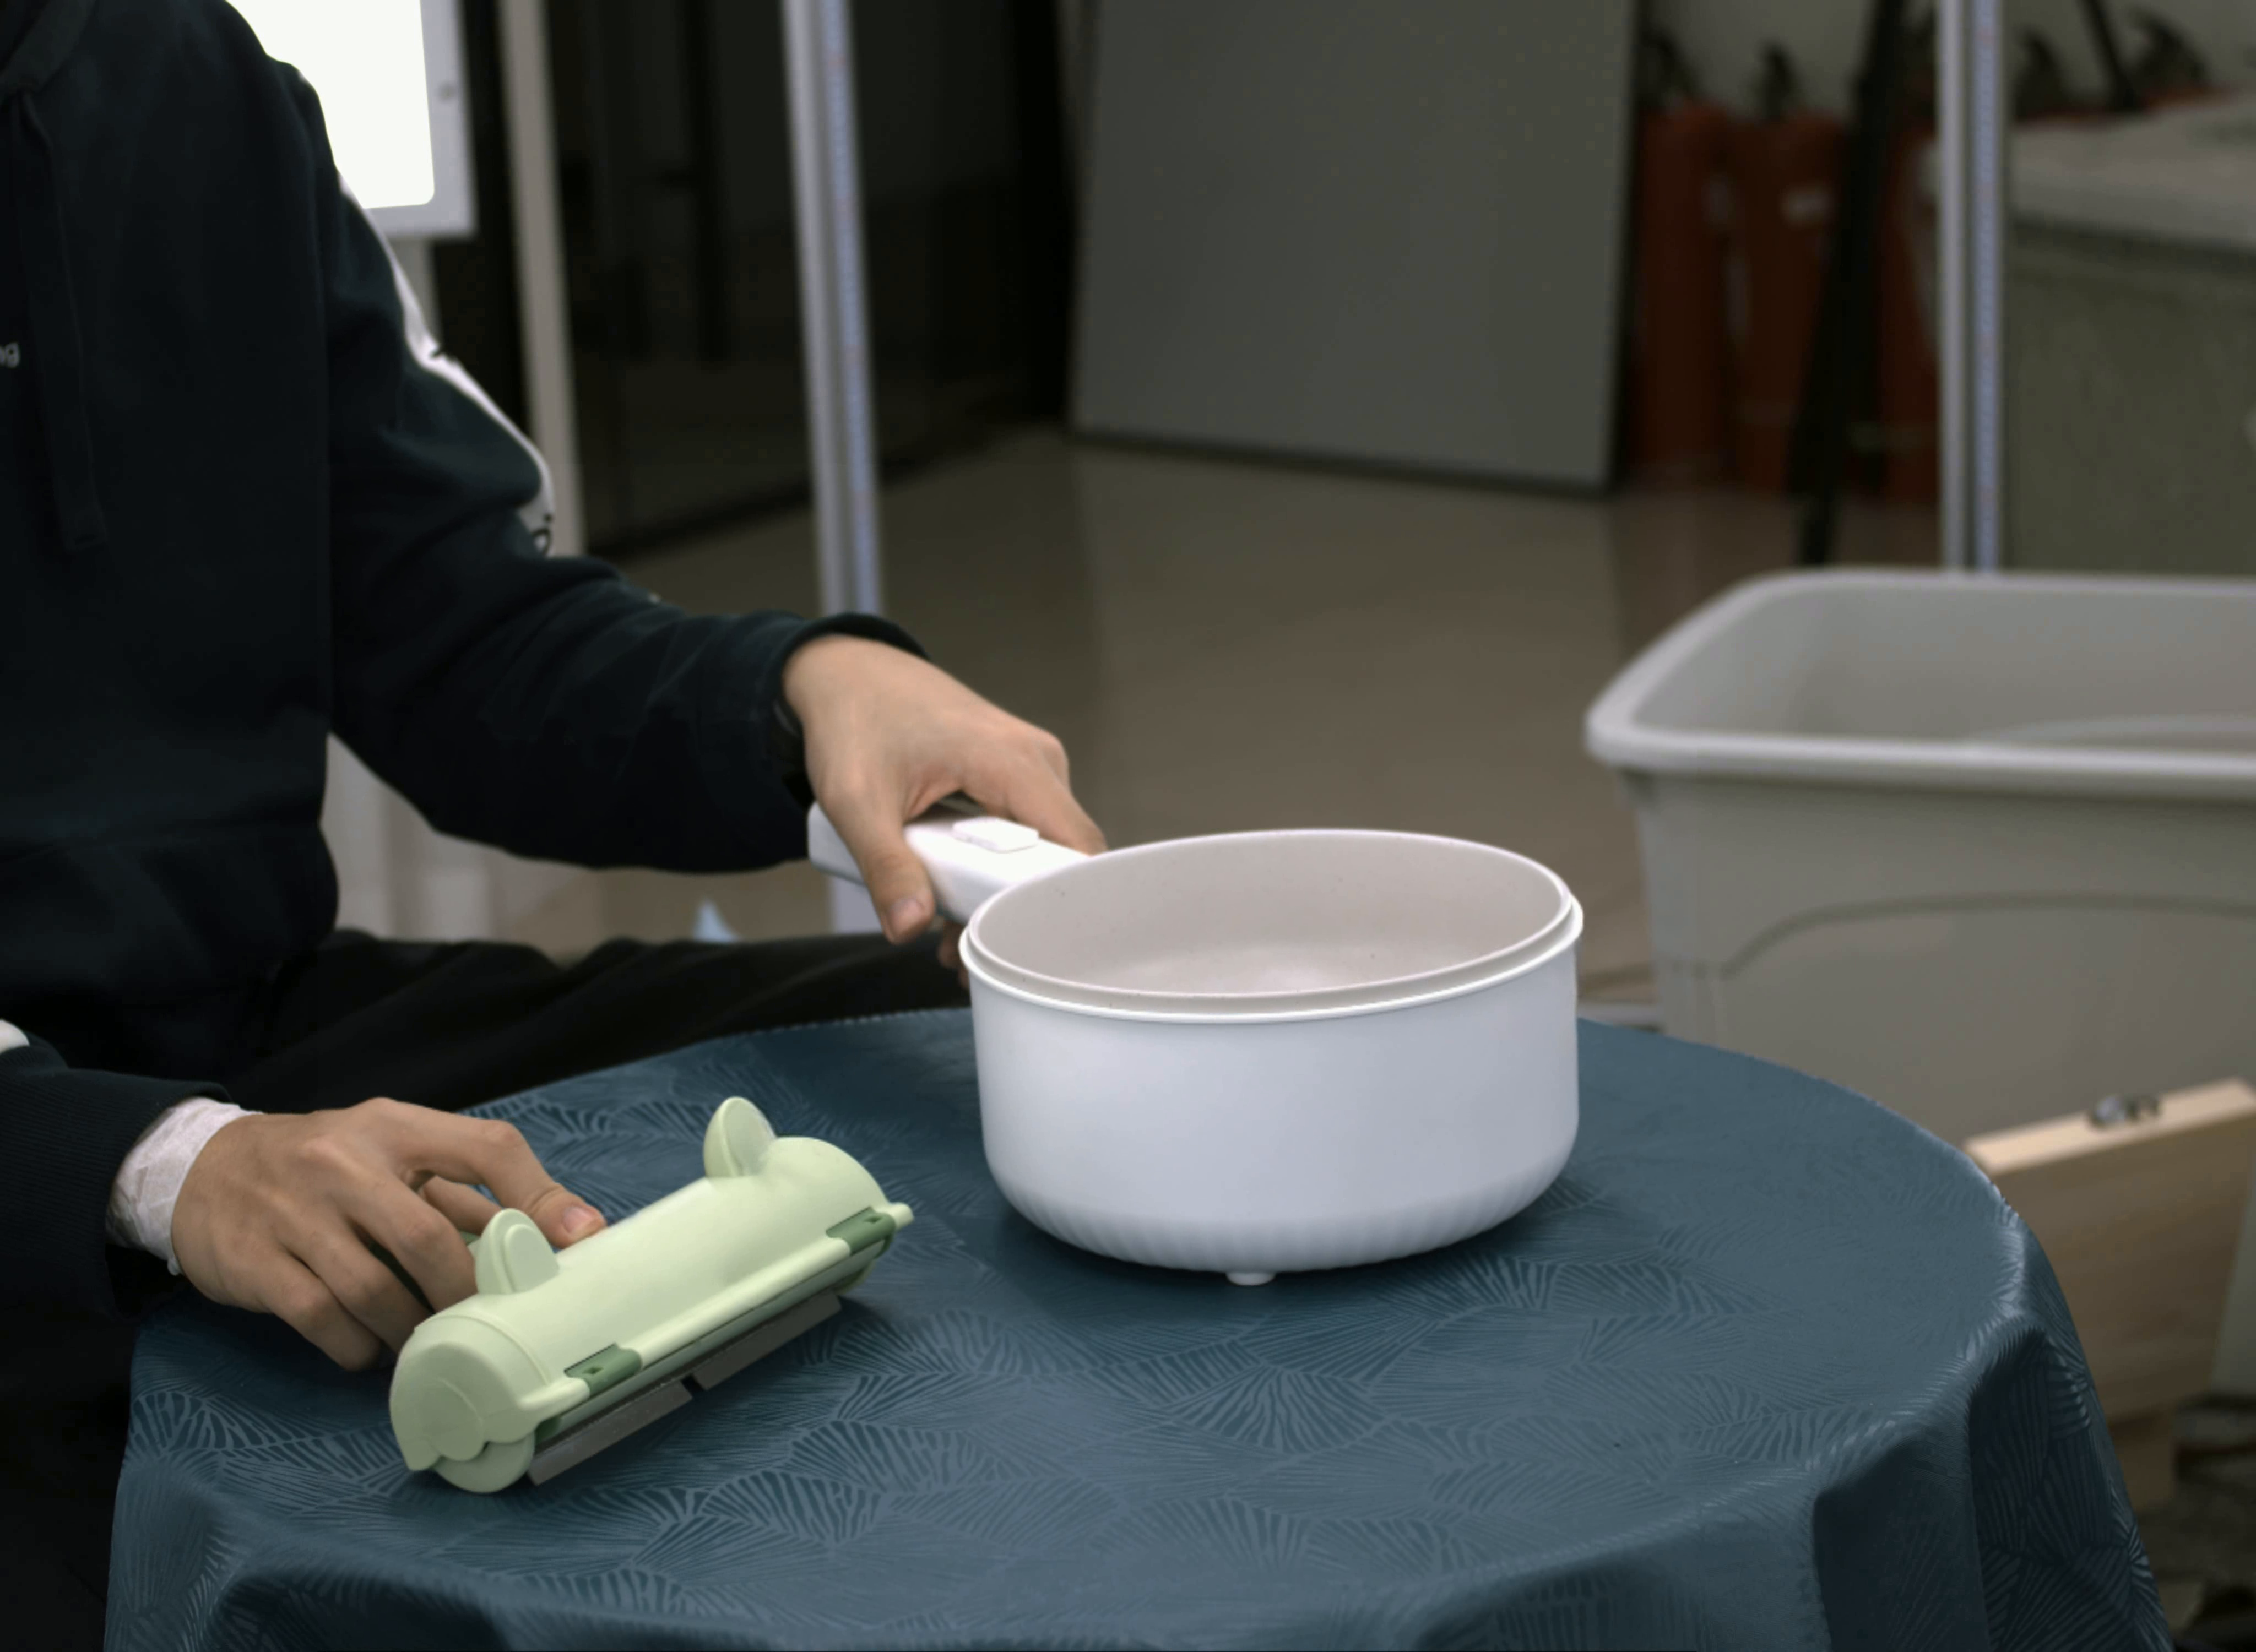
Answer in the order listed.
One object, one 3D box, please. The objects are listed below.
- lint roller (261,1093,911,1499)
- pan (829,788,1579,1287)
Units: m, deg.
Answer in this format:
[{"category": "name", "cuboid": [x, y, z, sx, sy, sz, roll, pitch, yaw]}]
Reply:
[{"category": "lint roller", "cuboid": [-0.189, 0.126, 1.637, 0.184, 0.083, 0.195, 13, 21, 29]}, {"category": "pan", "cuboid": [0.006, 0.063, 1.799, 0.197, 0.103, 0.358, -13, 16, -31]}]
